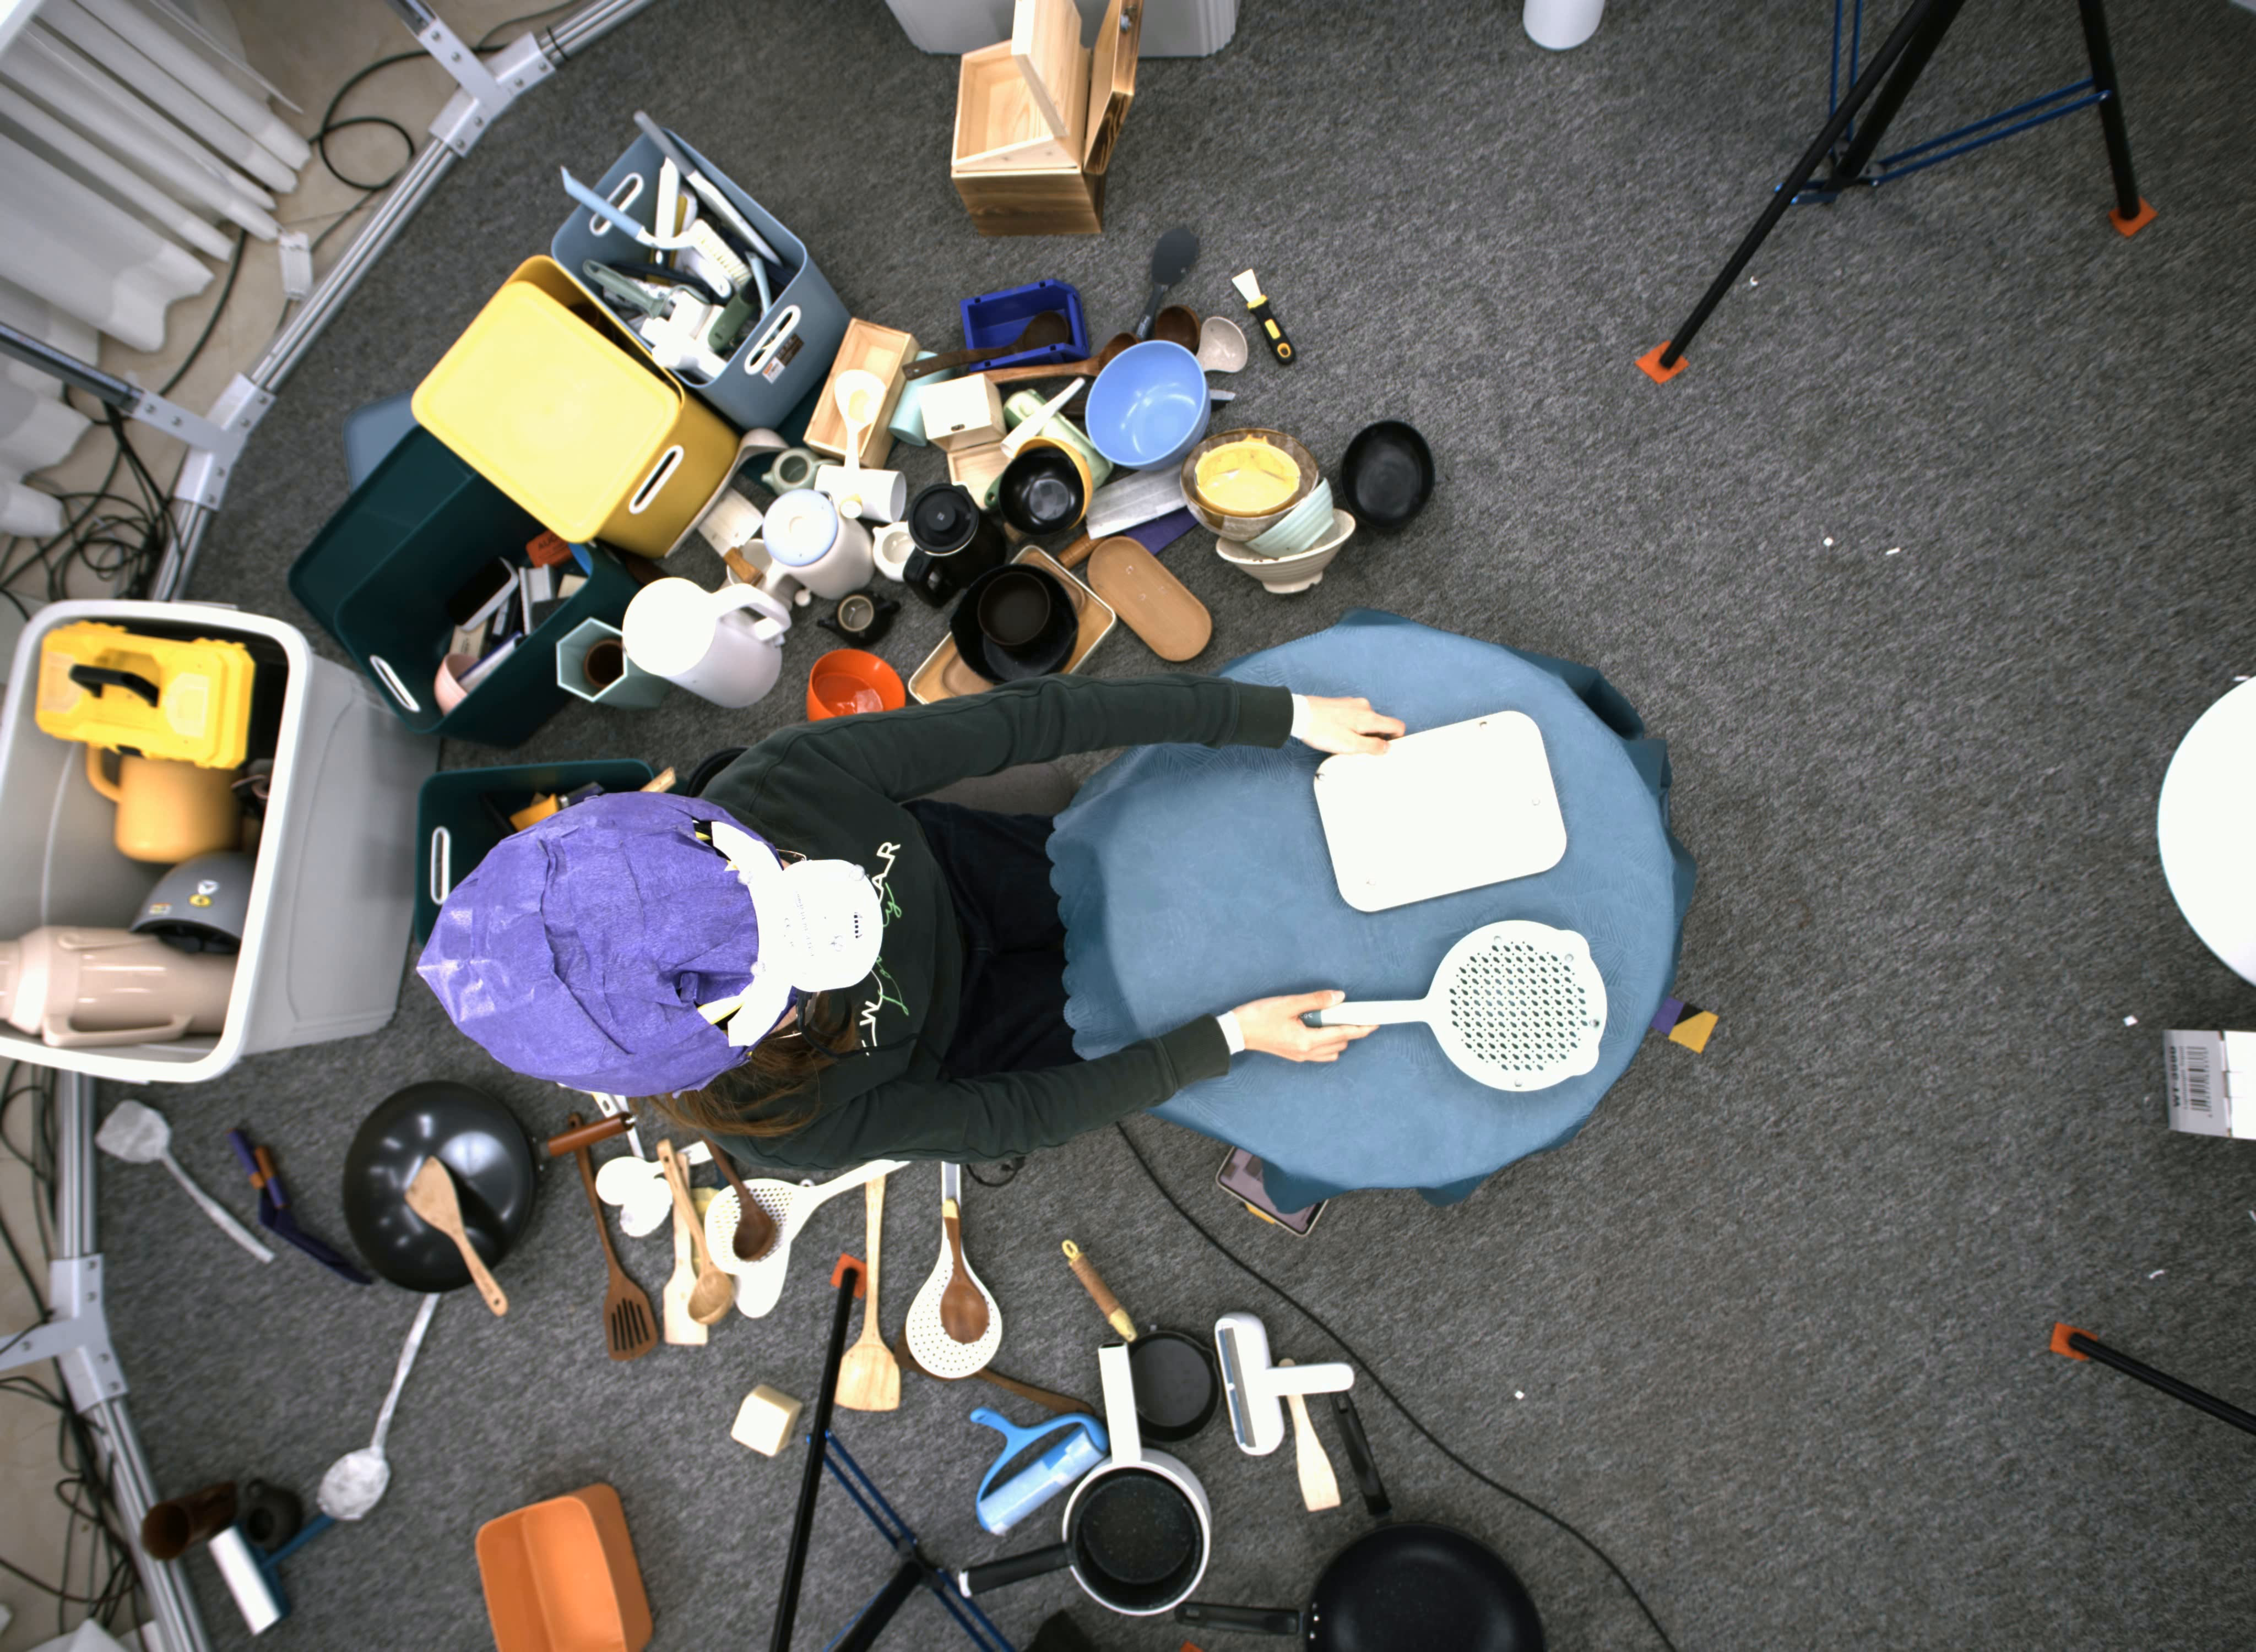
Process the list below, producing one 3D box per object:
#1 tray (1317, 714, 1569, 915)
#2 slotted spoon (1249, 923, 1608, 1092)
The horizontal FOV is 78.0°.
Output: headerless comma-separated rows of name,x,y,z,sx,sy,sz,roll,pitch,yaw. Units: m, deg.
tray,0.329,-0.013,1.443,0.241,0.017,0.171,-14,90,10
slotted spoon,0.301,0.190,1.417,0.360,0.076,0.167,-4,79,9
